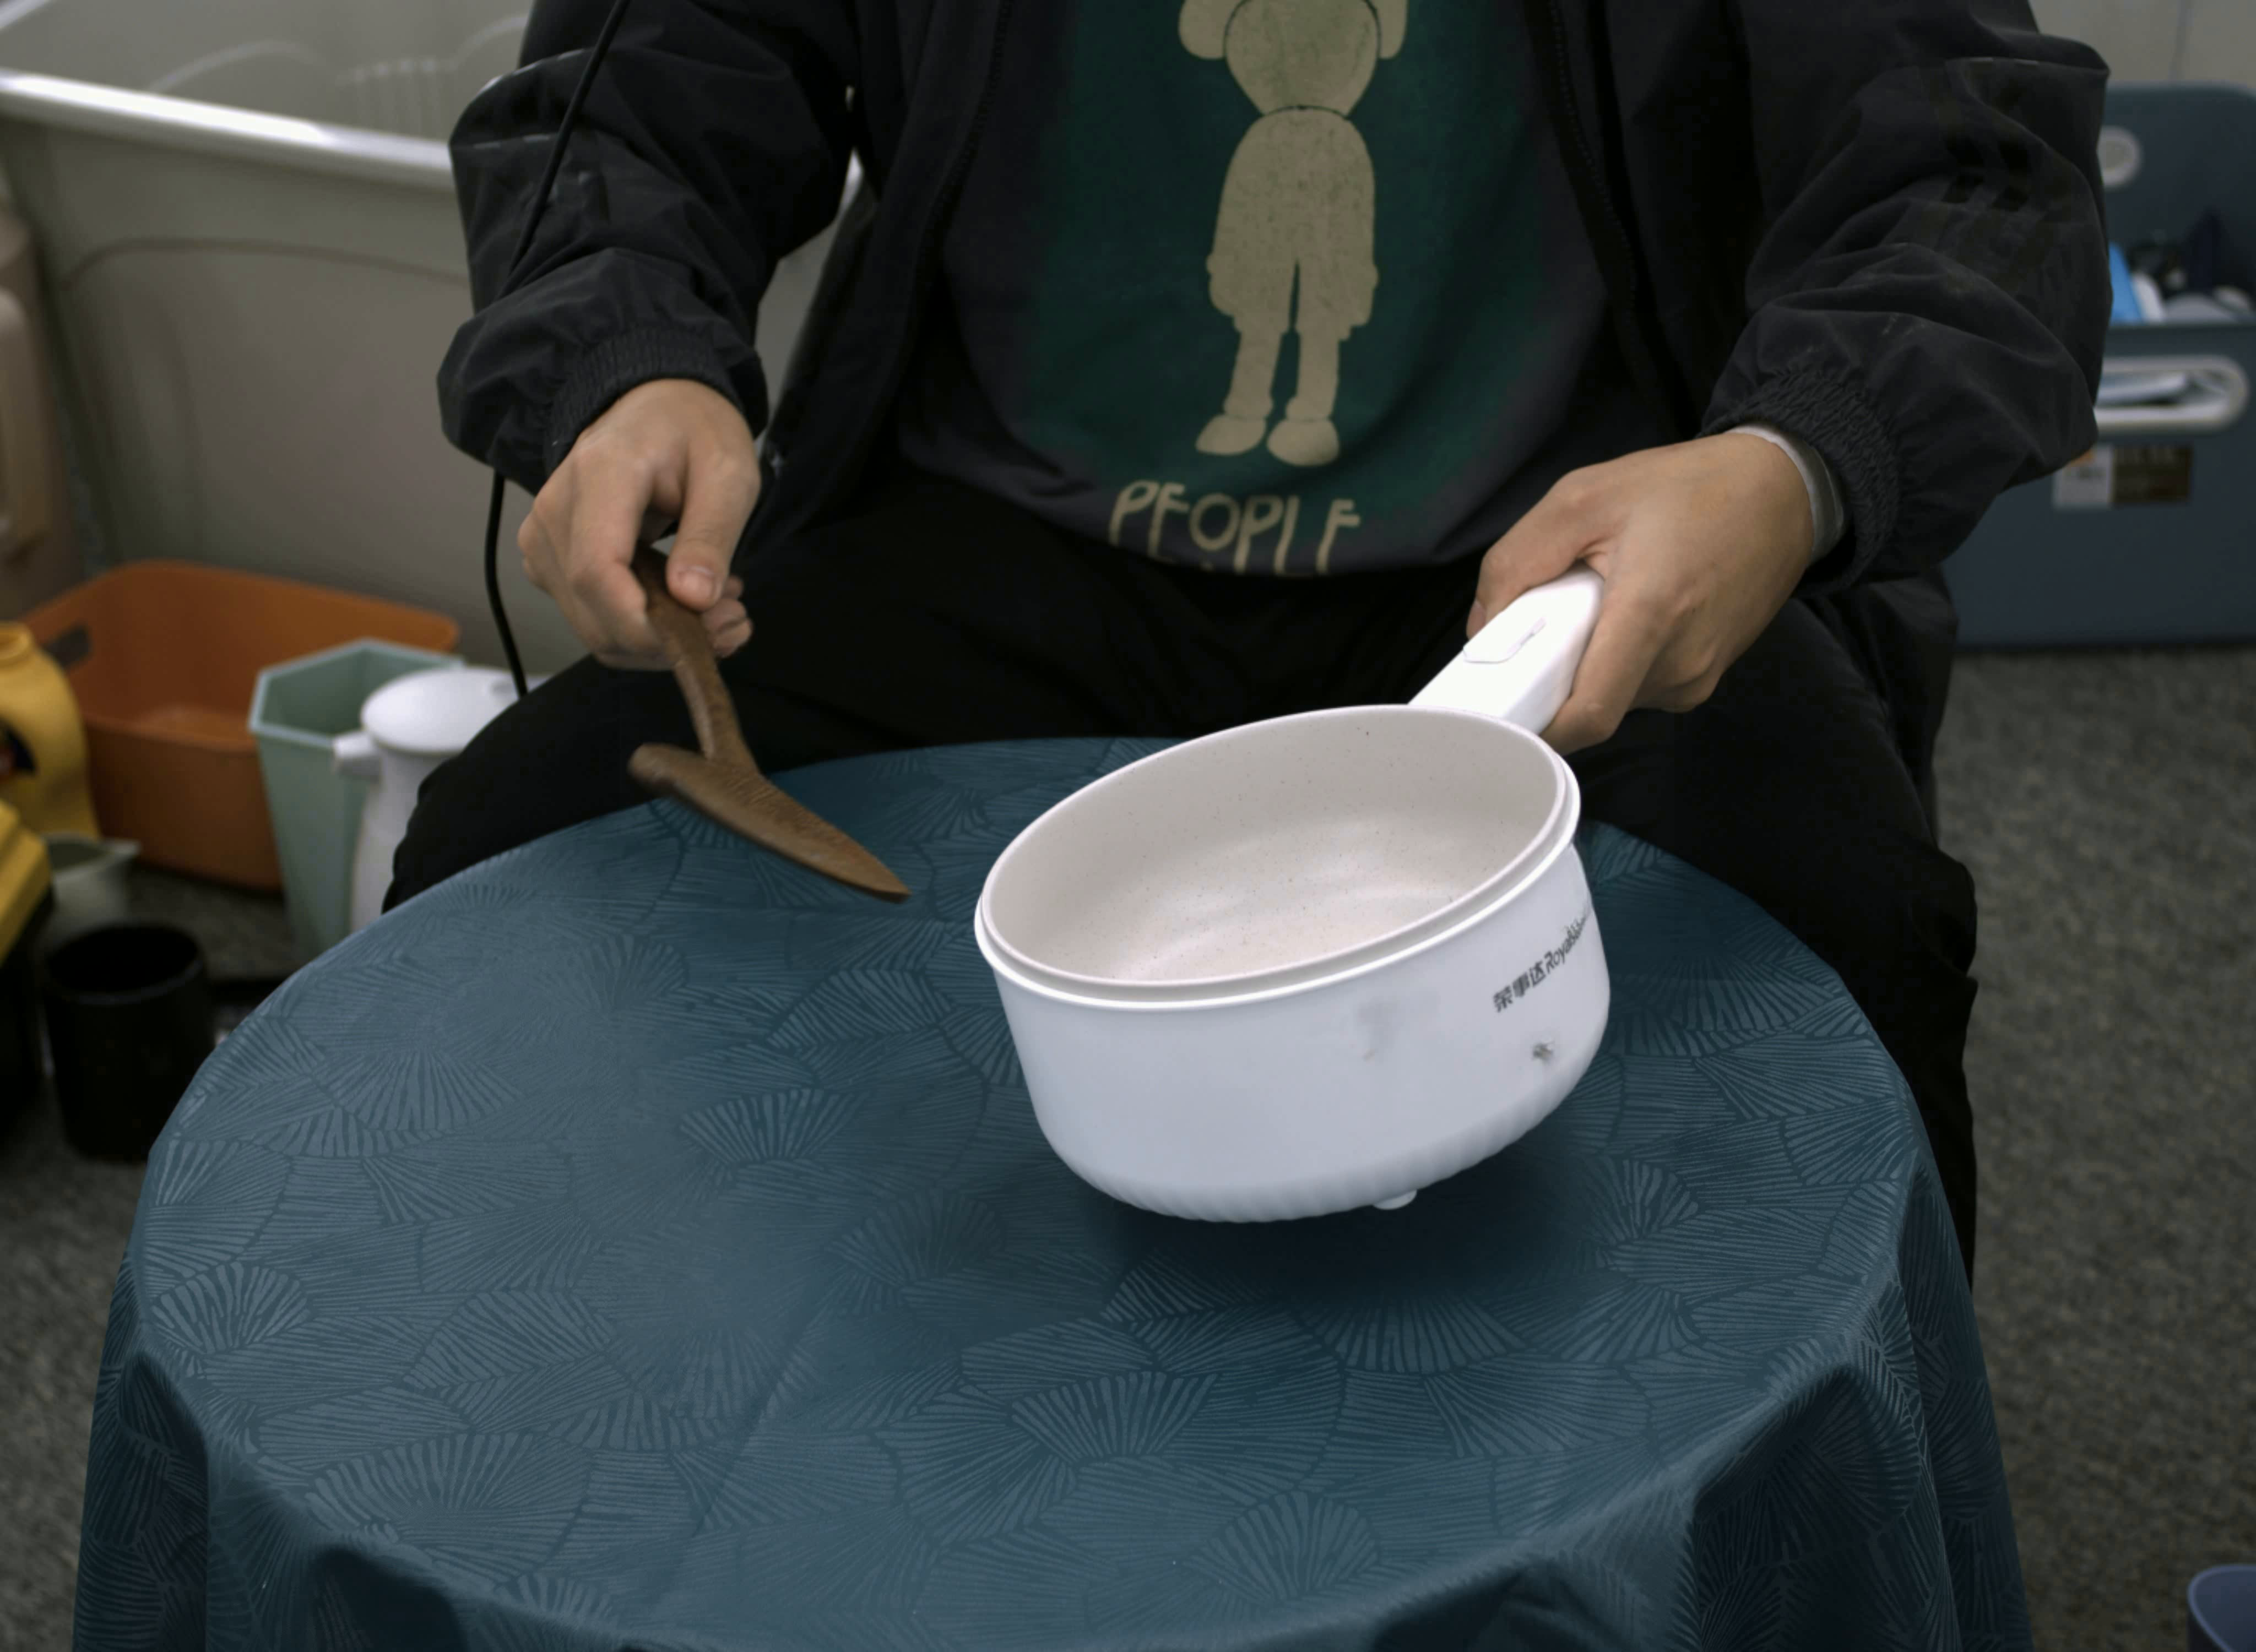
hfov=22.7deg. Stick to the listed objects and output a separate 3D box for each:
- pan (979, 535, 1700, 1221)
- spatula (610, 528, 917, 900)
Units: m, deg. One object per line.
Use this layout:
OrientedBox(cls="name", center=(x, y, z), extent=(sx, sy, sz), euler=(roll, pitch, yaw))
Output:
OrientedBox(cls="pan", center=(0.099, 0.015, 1.888), extent=(0.199, 0.101, 0.360), euler=(1, 26, 34))
OrientedBox(cls="spatula", center=(-0.142, -0.048, 1.921), extent=(0.096, 0.016, 0.388), euler=(28, 10, -19))
